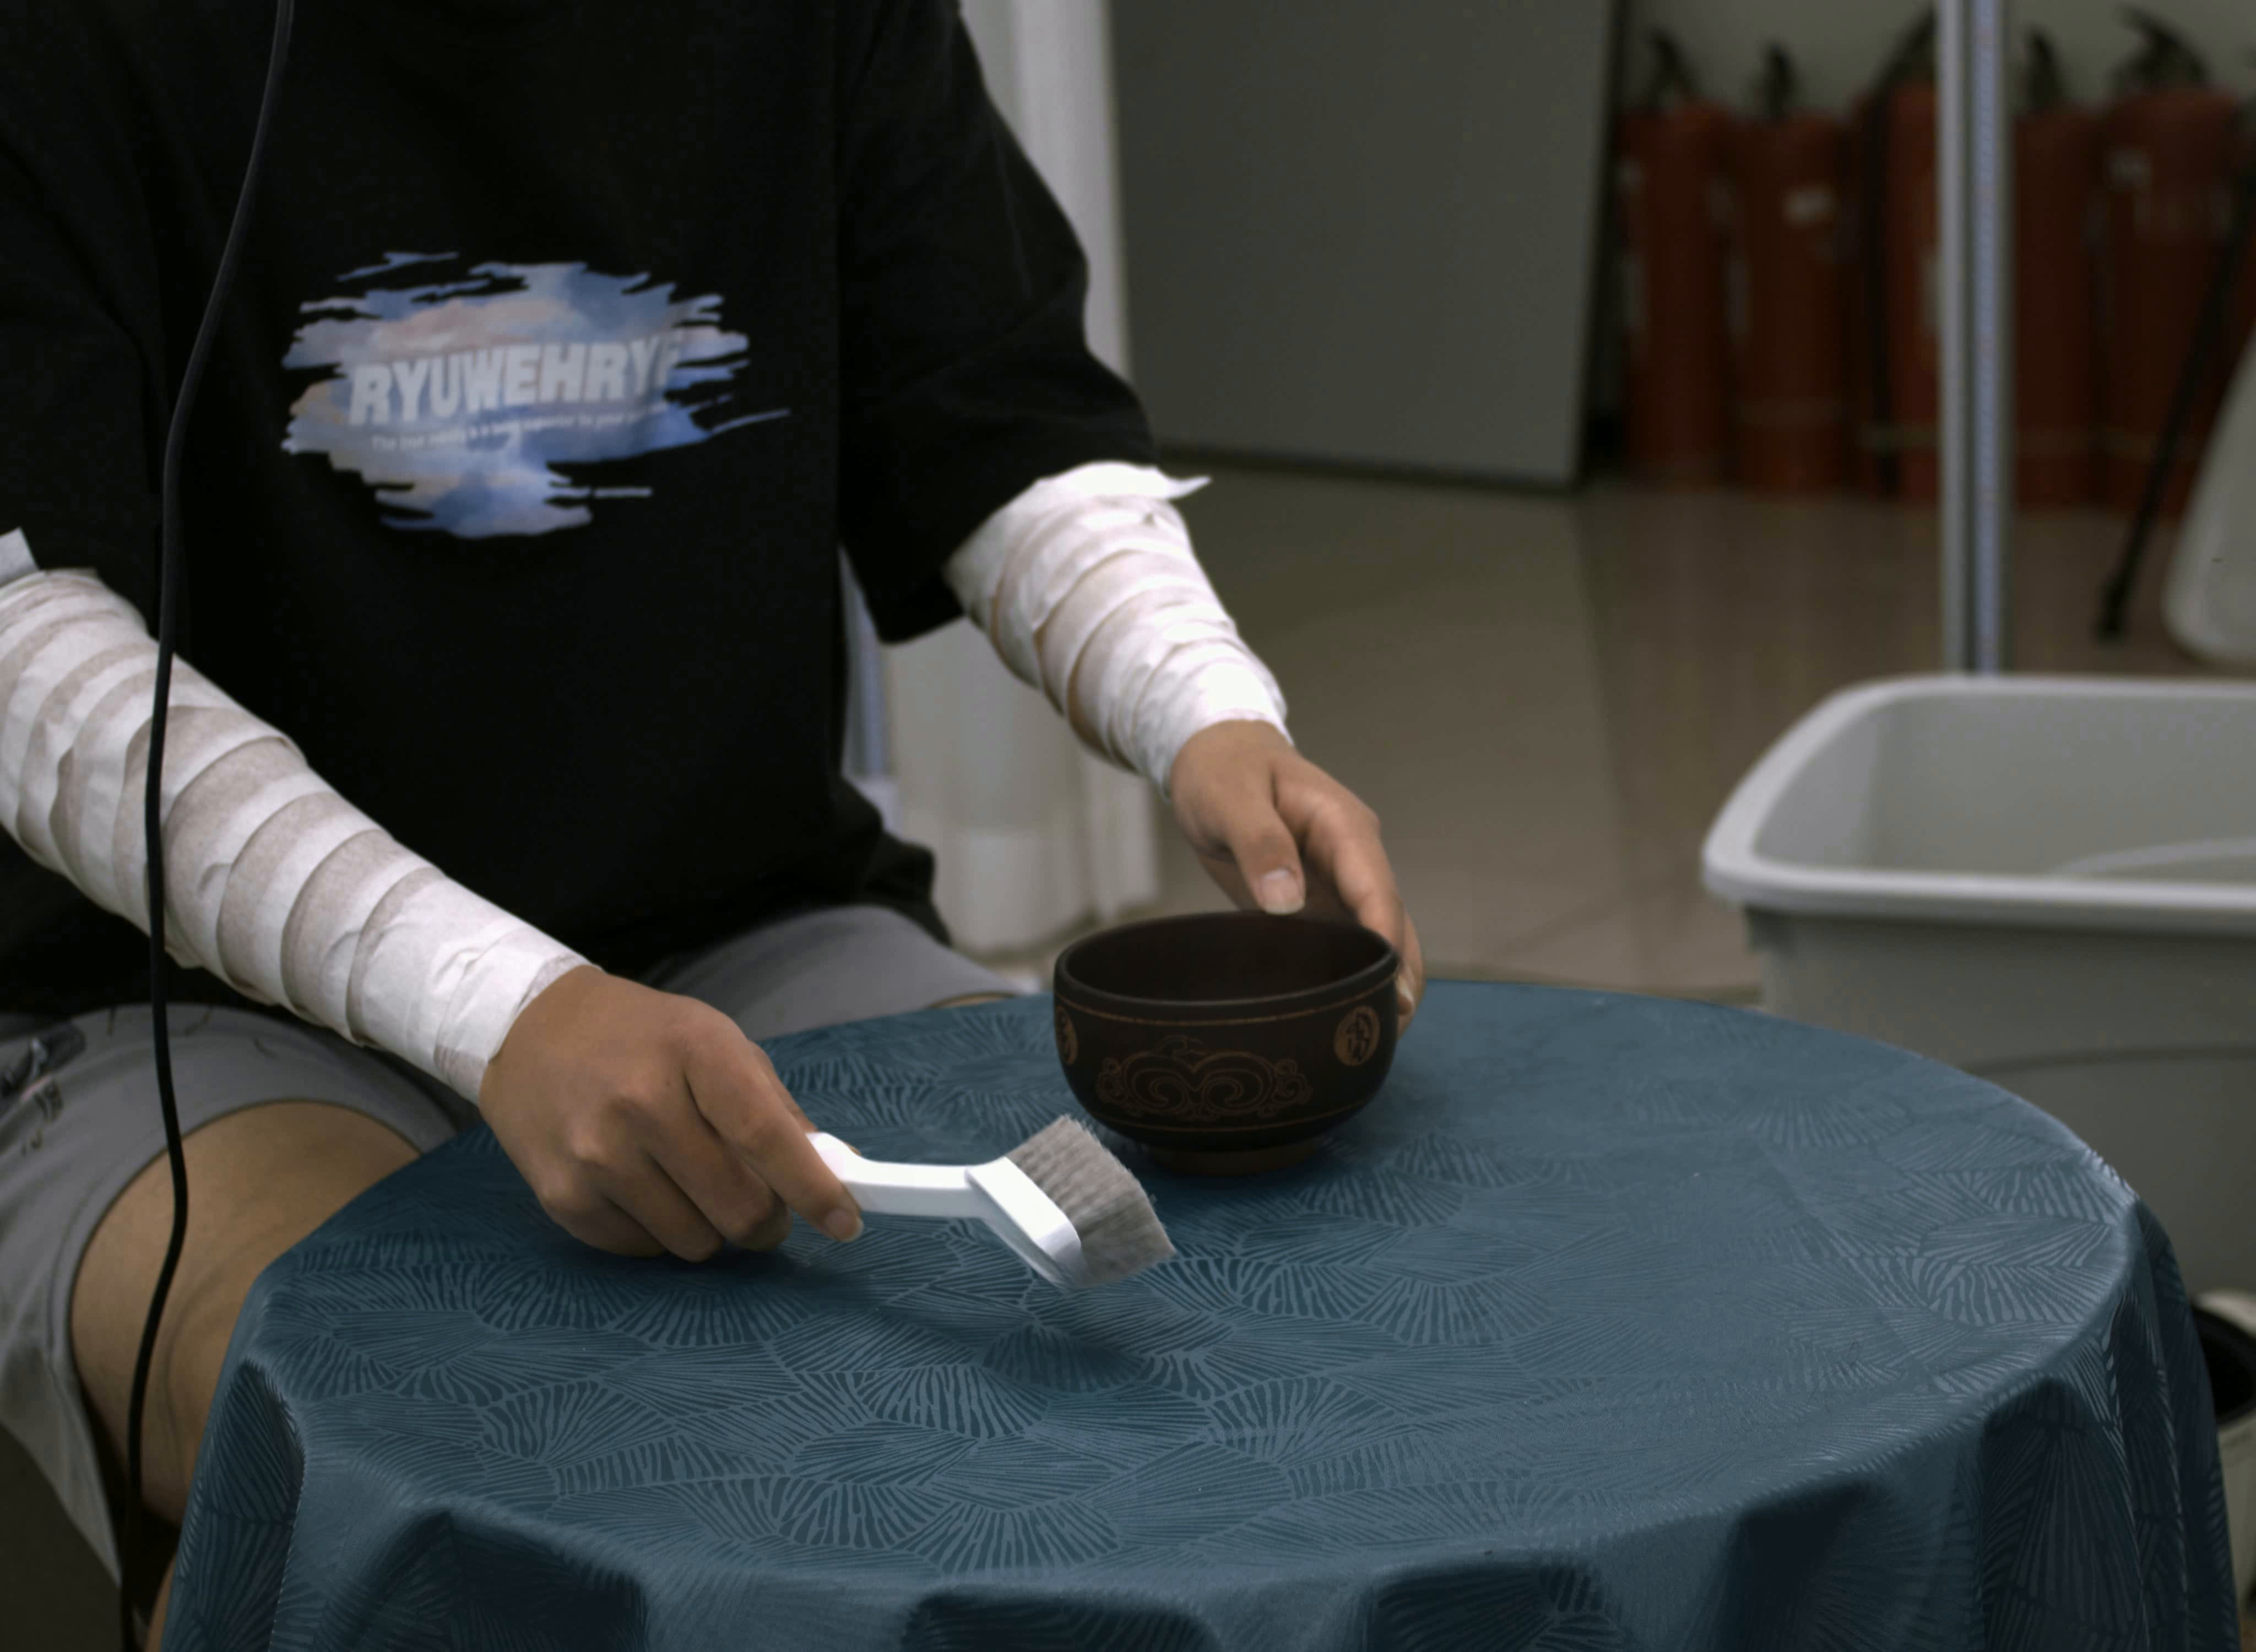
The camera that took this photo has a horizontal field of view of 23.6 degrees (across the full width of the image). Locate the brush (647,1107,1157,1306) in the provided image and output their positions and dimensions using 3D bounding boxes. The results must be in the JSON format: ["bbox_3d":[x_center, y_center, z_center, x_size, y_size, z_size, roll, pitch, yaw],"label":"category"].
[{"bbox_3d":[-0.071,0.105,1.691,0.049,0.034,0.246,-37,26,-26],"label":"brush"}]

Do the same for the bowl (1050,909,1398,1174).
[{"bbox_3d":[0.034,0.075,1.799,0.116,0.070,0.118,-6,12,0],"label":"bowl"}]
